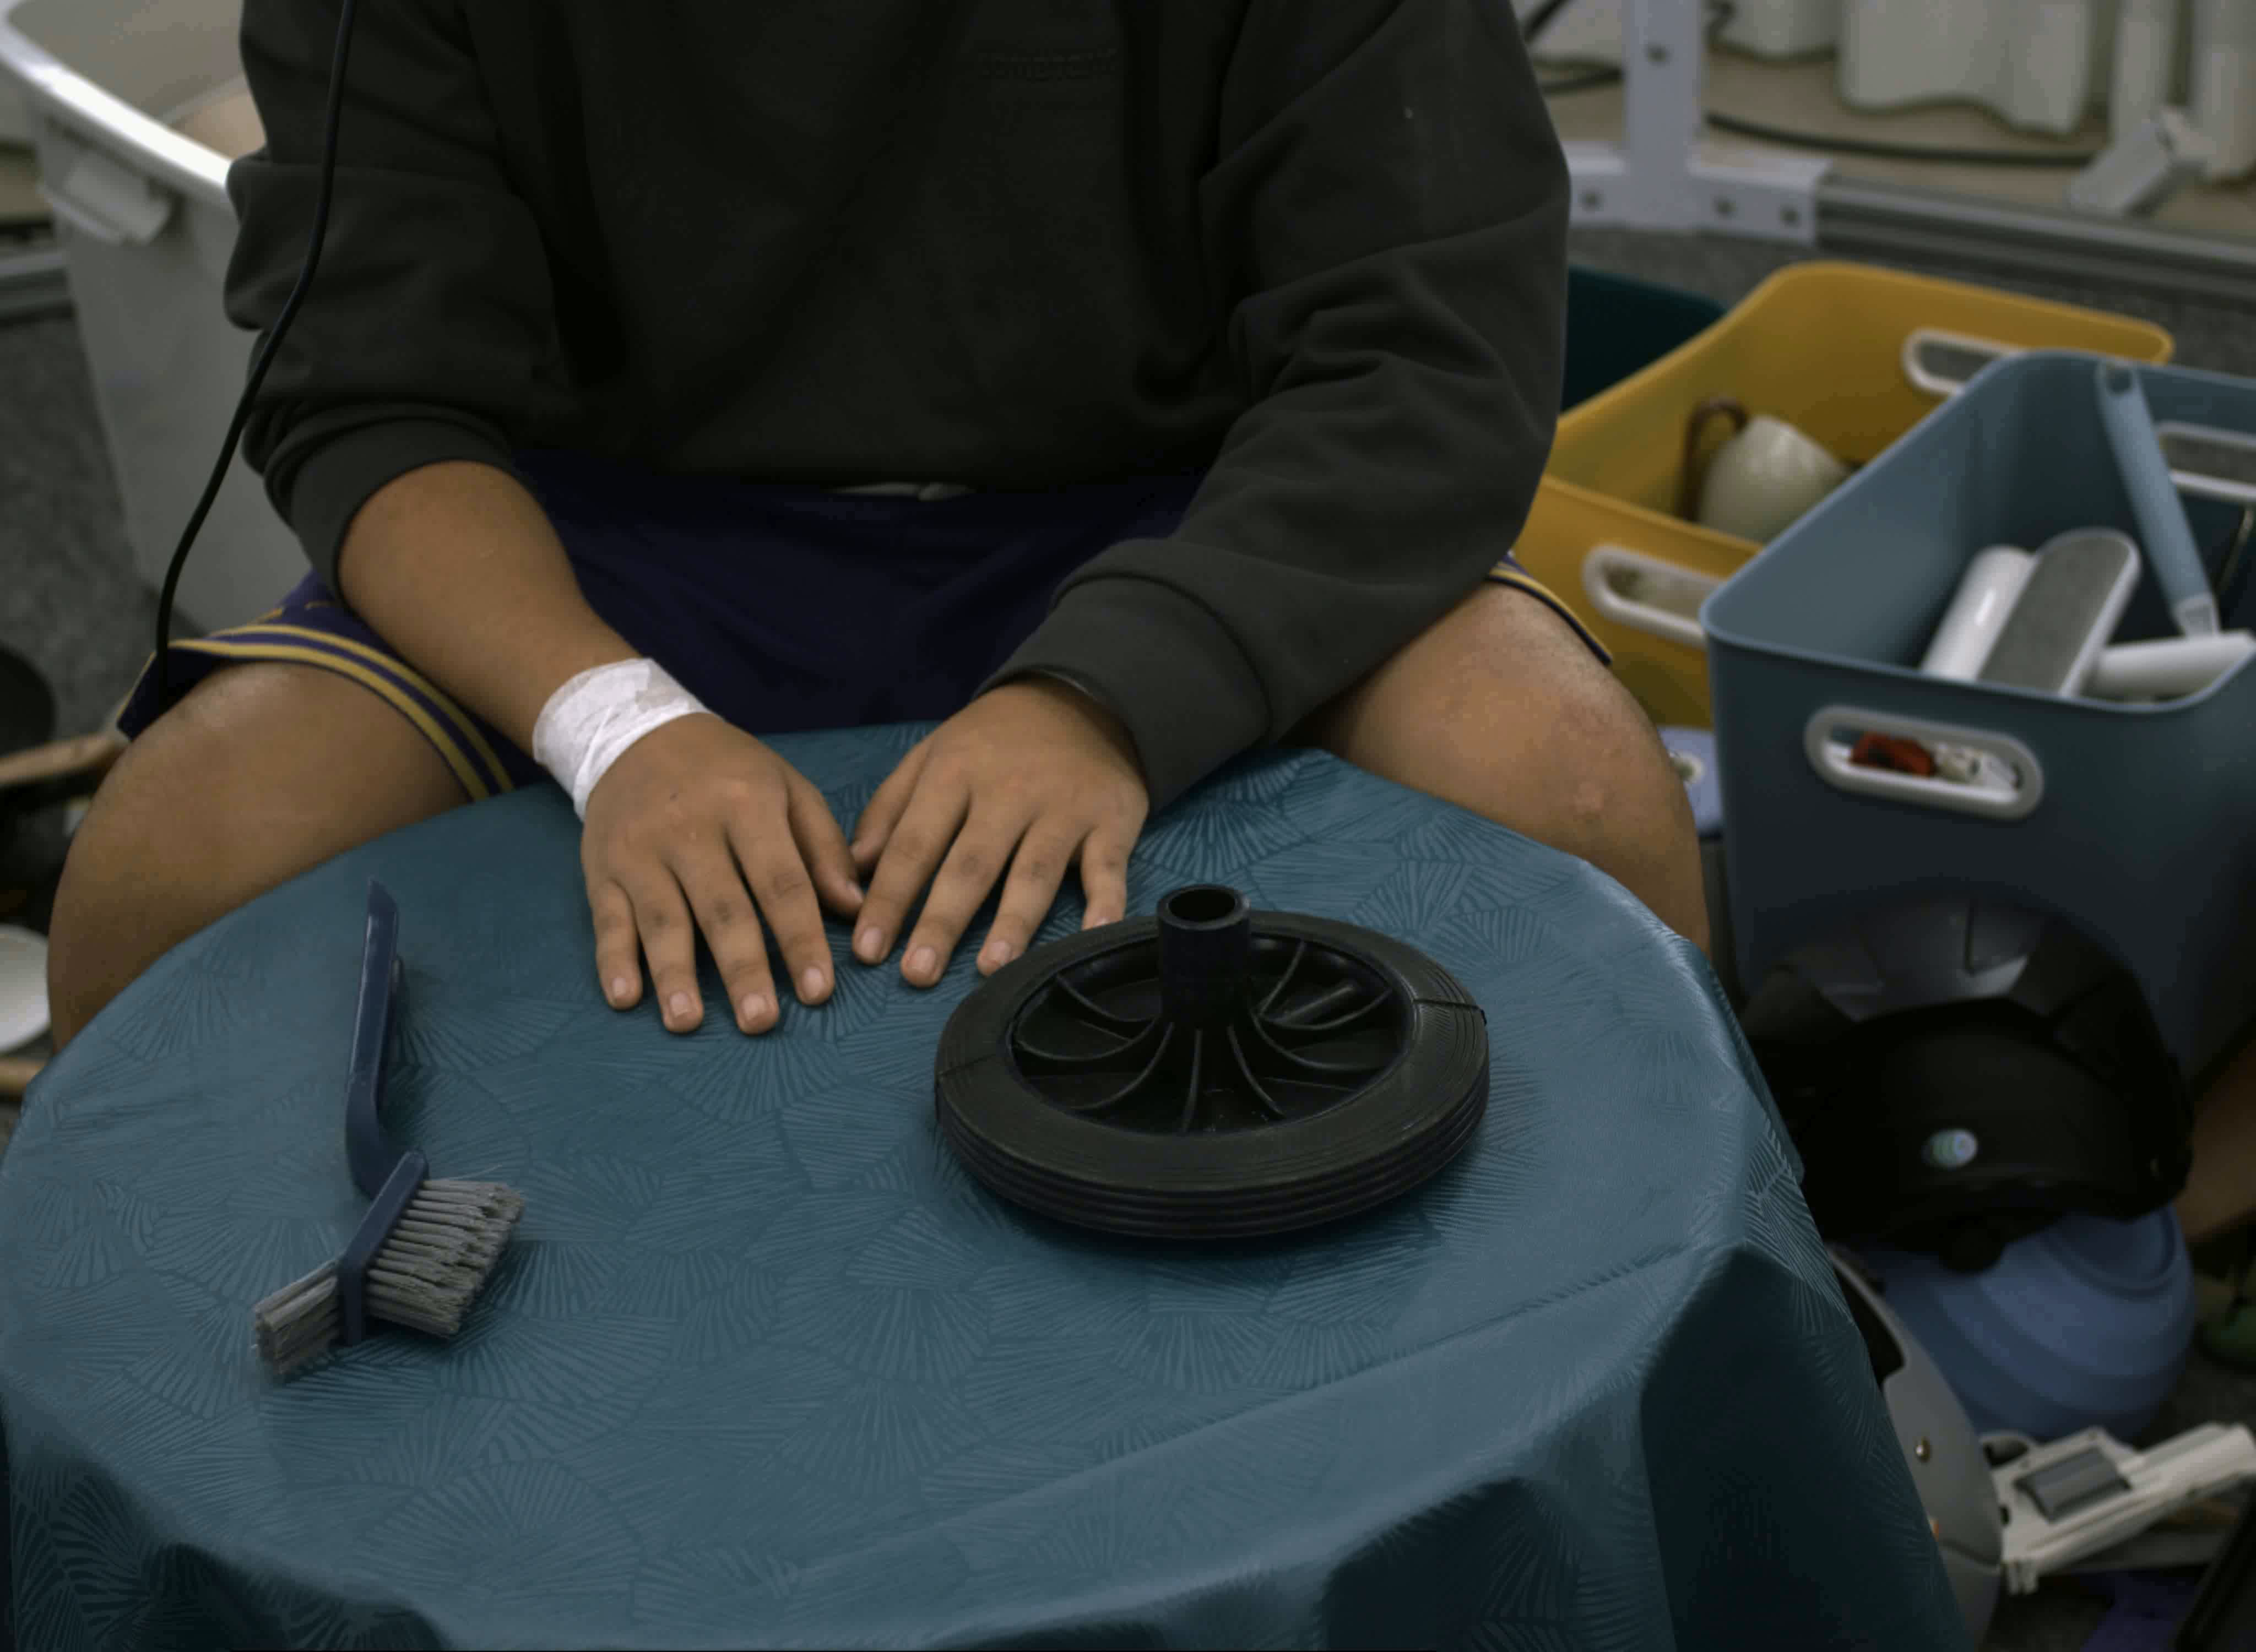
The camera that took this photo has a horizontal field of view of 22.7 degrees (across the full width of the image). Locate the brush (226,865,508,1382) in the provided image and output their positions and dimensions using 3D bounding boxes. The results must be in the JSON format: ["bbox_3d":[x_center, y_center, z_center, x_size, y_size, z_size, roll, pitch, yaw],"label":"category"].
[{"bbox_3d":[-0.265,0.096,1.902,0.095,0.033,0.276,-8,29,-9],"label":"brush"}]

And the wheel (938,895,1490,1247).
[{"bbox_3d":[0.028,0.065,1.886,0.186,0.078,0.193,10,30,24],"label":"wheel"}]
